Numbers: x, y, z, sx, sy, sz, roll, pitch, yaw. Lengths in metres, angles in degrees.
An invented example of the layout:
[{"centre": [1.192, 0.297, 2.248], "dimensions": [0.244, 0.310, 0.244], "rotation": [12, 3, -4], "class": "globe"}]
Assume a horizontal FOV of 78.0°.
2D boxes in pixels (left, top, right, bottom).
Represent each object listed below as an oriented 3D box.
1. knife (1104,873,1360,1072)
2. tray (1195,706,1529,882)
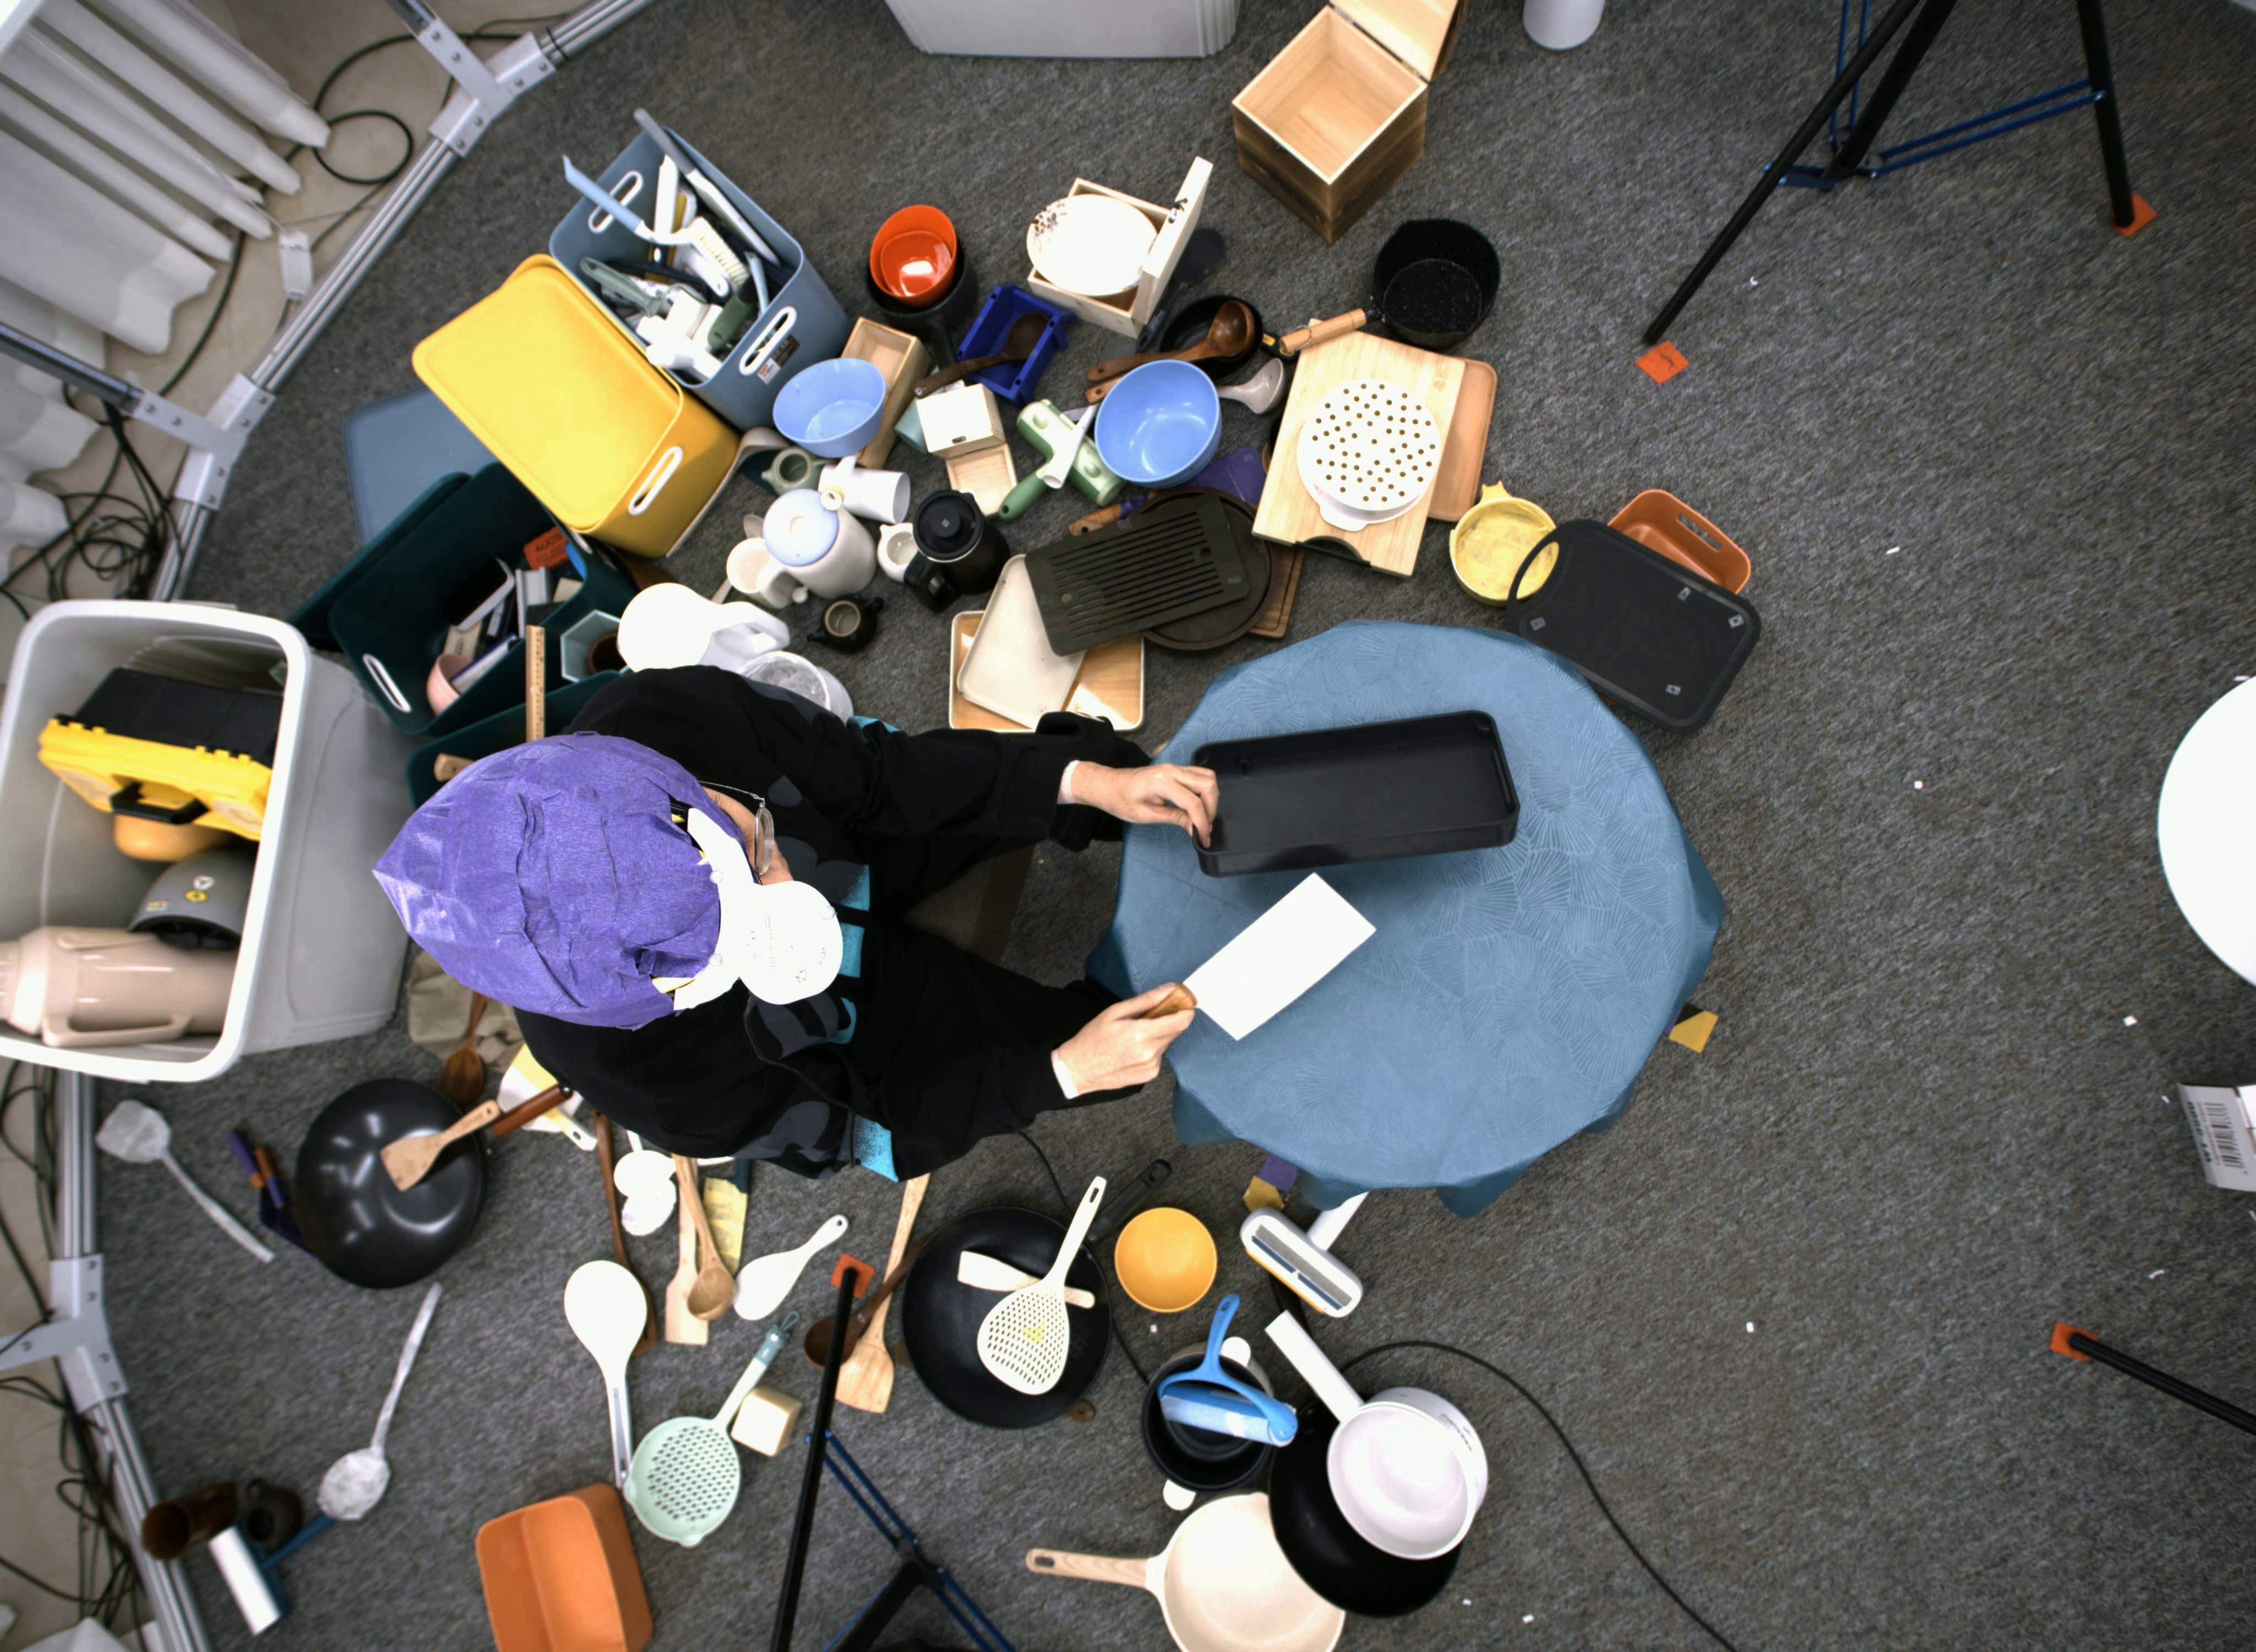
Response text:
[{"centre": [0.105, 0.165, 1.393], "dimensions": [0.093, 0.020, 0.311], "rotation": [41, 114, -15], "class": "knife"}, {"centre": [0.230, -0.036, 1.396], "dimensions": [0.319, 0.038, 0.179], "rotation": [-8, 42, 7], "class": "tray"}]
